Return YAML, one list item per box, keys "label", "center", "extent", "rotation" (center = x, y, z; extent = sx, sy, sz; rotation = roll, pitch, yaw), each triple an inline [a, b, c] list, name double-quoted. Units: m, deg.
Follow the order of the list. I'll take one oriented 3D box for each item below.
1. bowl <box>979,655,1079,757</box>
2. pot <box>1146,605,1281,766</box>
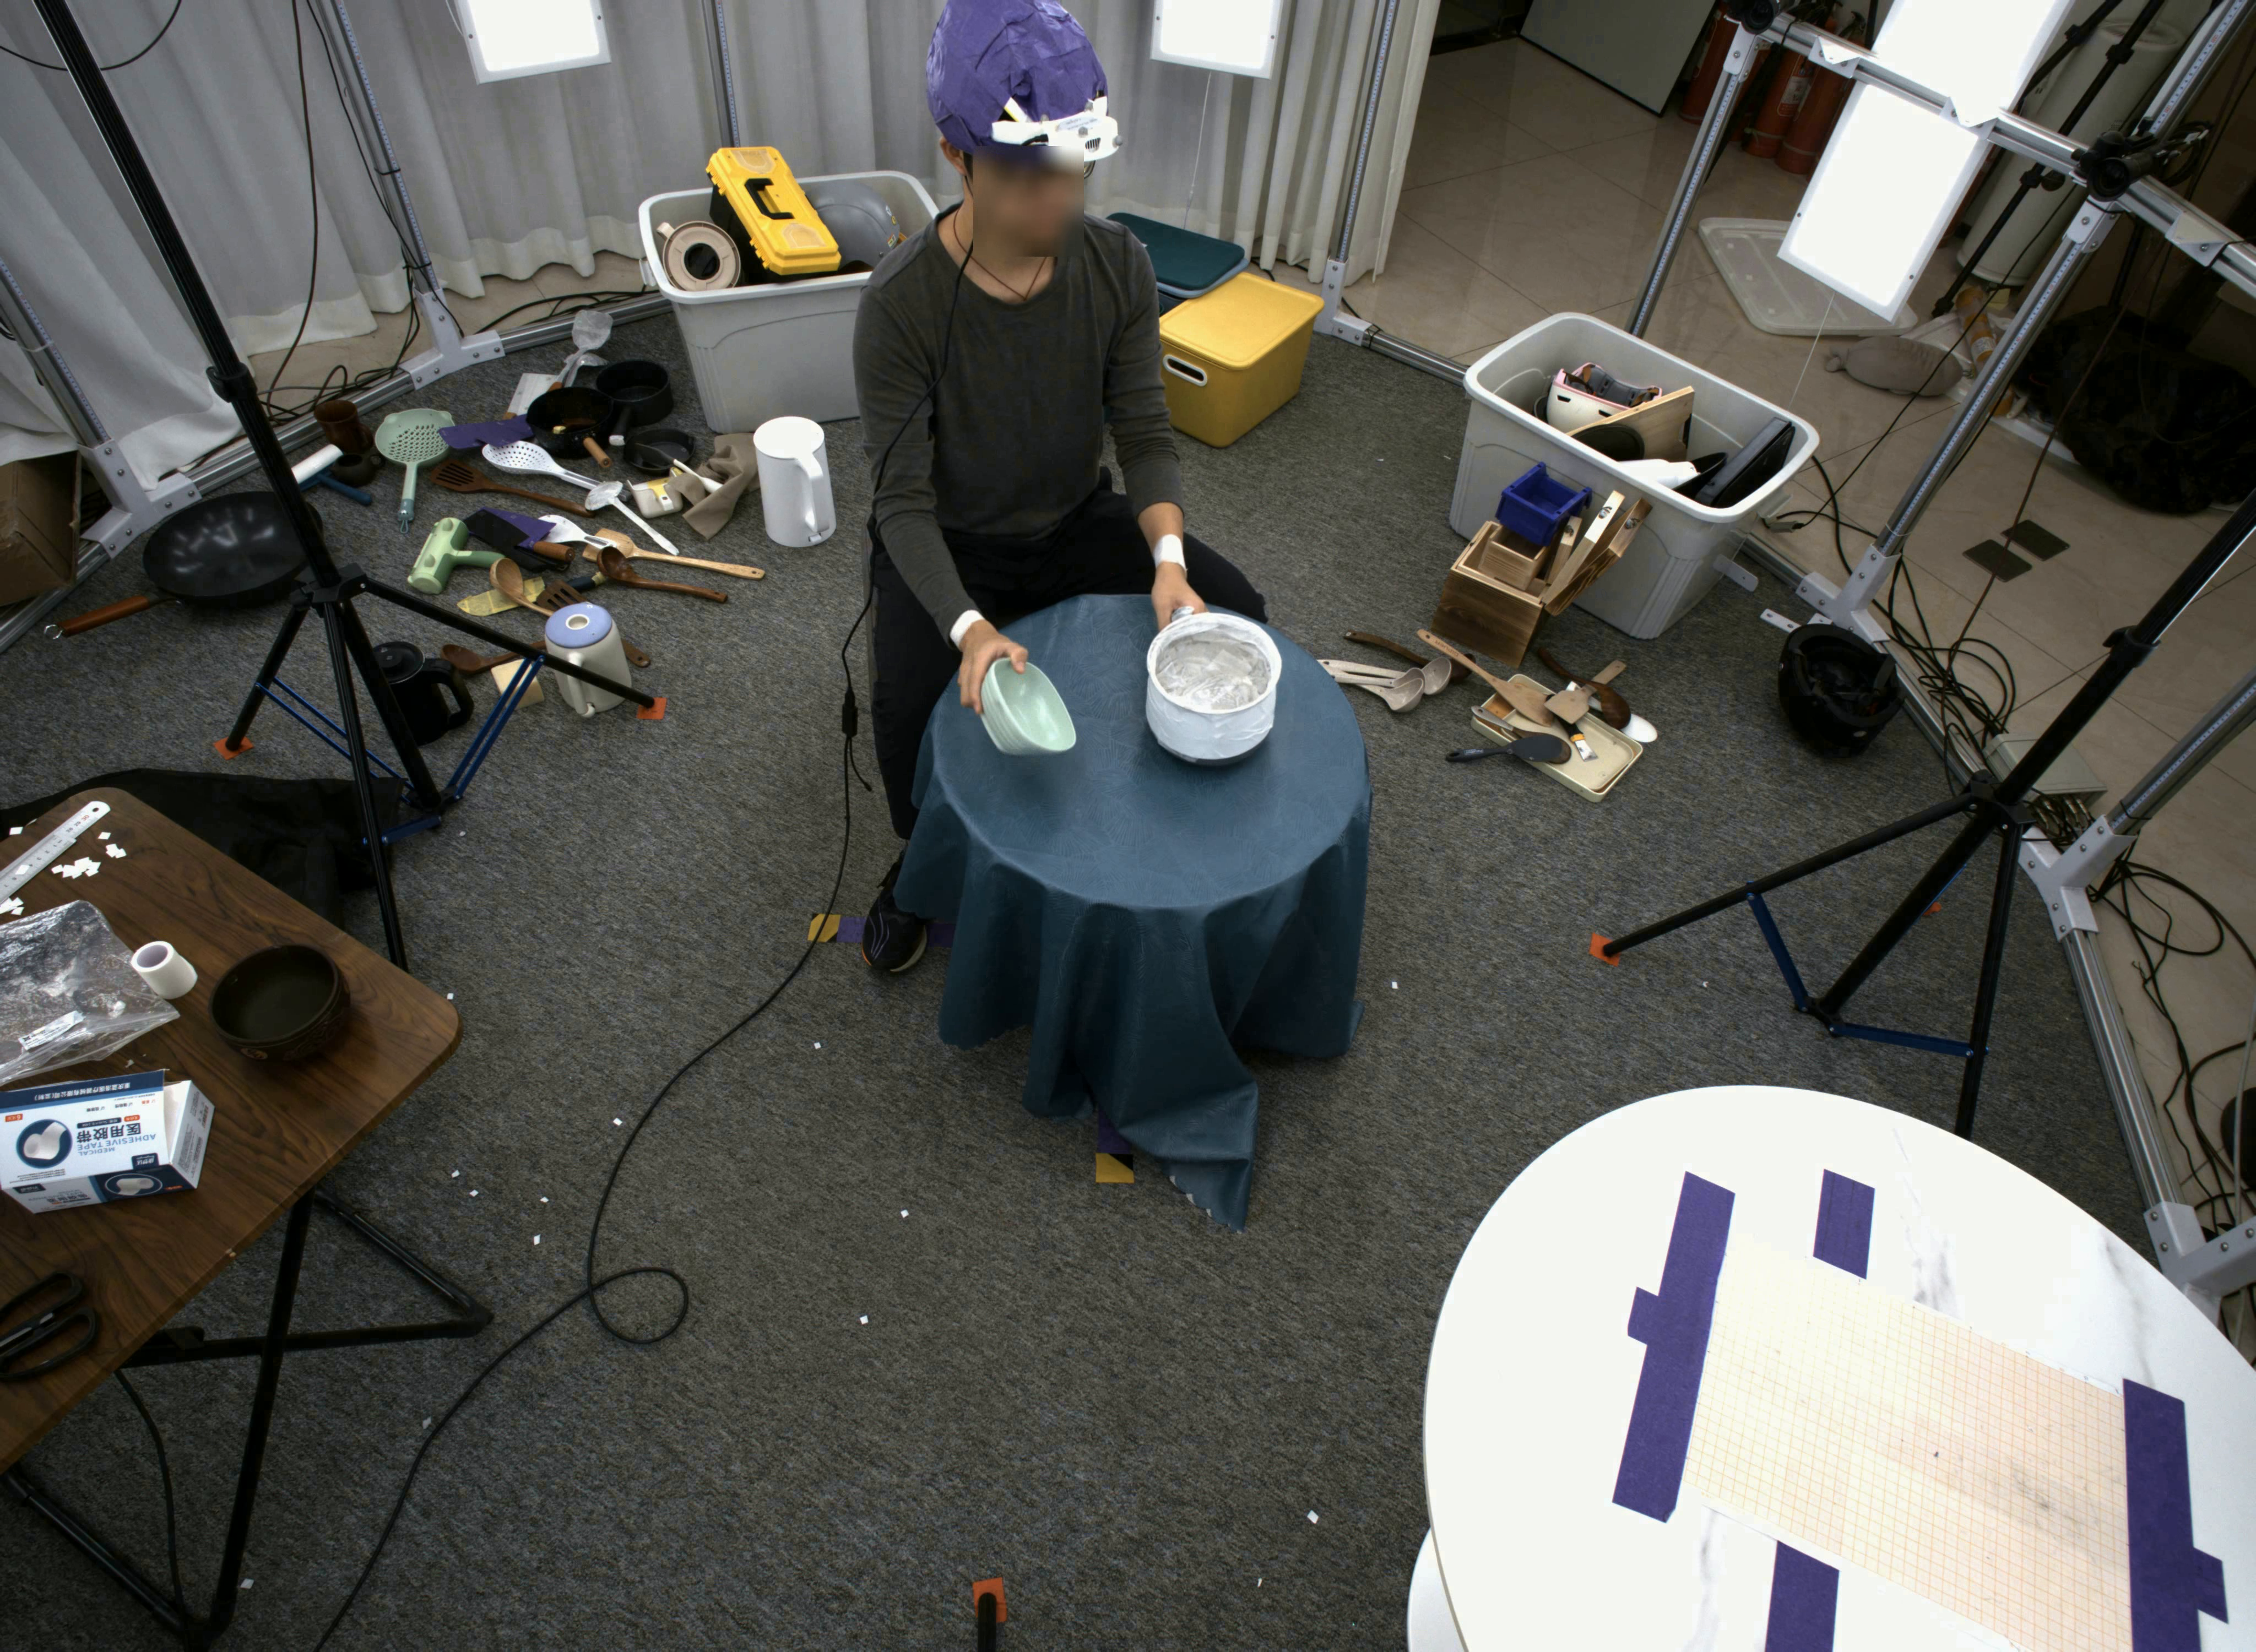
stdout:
- label: "bowl"
  center: [-0.135, -0.144, 1.639]
  extent: [0.149, 0.058, 0.155]
  rotation: [29, 46, -36]
- label: "pot"
  center: [0.103, -0.202, 1.749]
  extent: [0.179, 0.133, 0.239]
  rotation: [-16, 56, -11]
